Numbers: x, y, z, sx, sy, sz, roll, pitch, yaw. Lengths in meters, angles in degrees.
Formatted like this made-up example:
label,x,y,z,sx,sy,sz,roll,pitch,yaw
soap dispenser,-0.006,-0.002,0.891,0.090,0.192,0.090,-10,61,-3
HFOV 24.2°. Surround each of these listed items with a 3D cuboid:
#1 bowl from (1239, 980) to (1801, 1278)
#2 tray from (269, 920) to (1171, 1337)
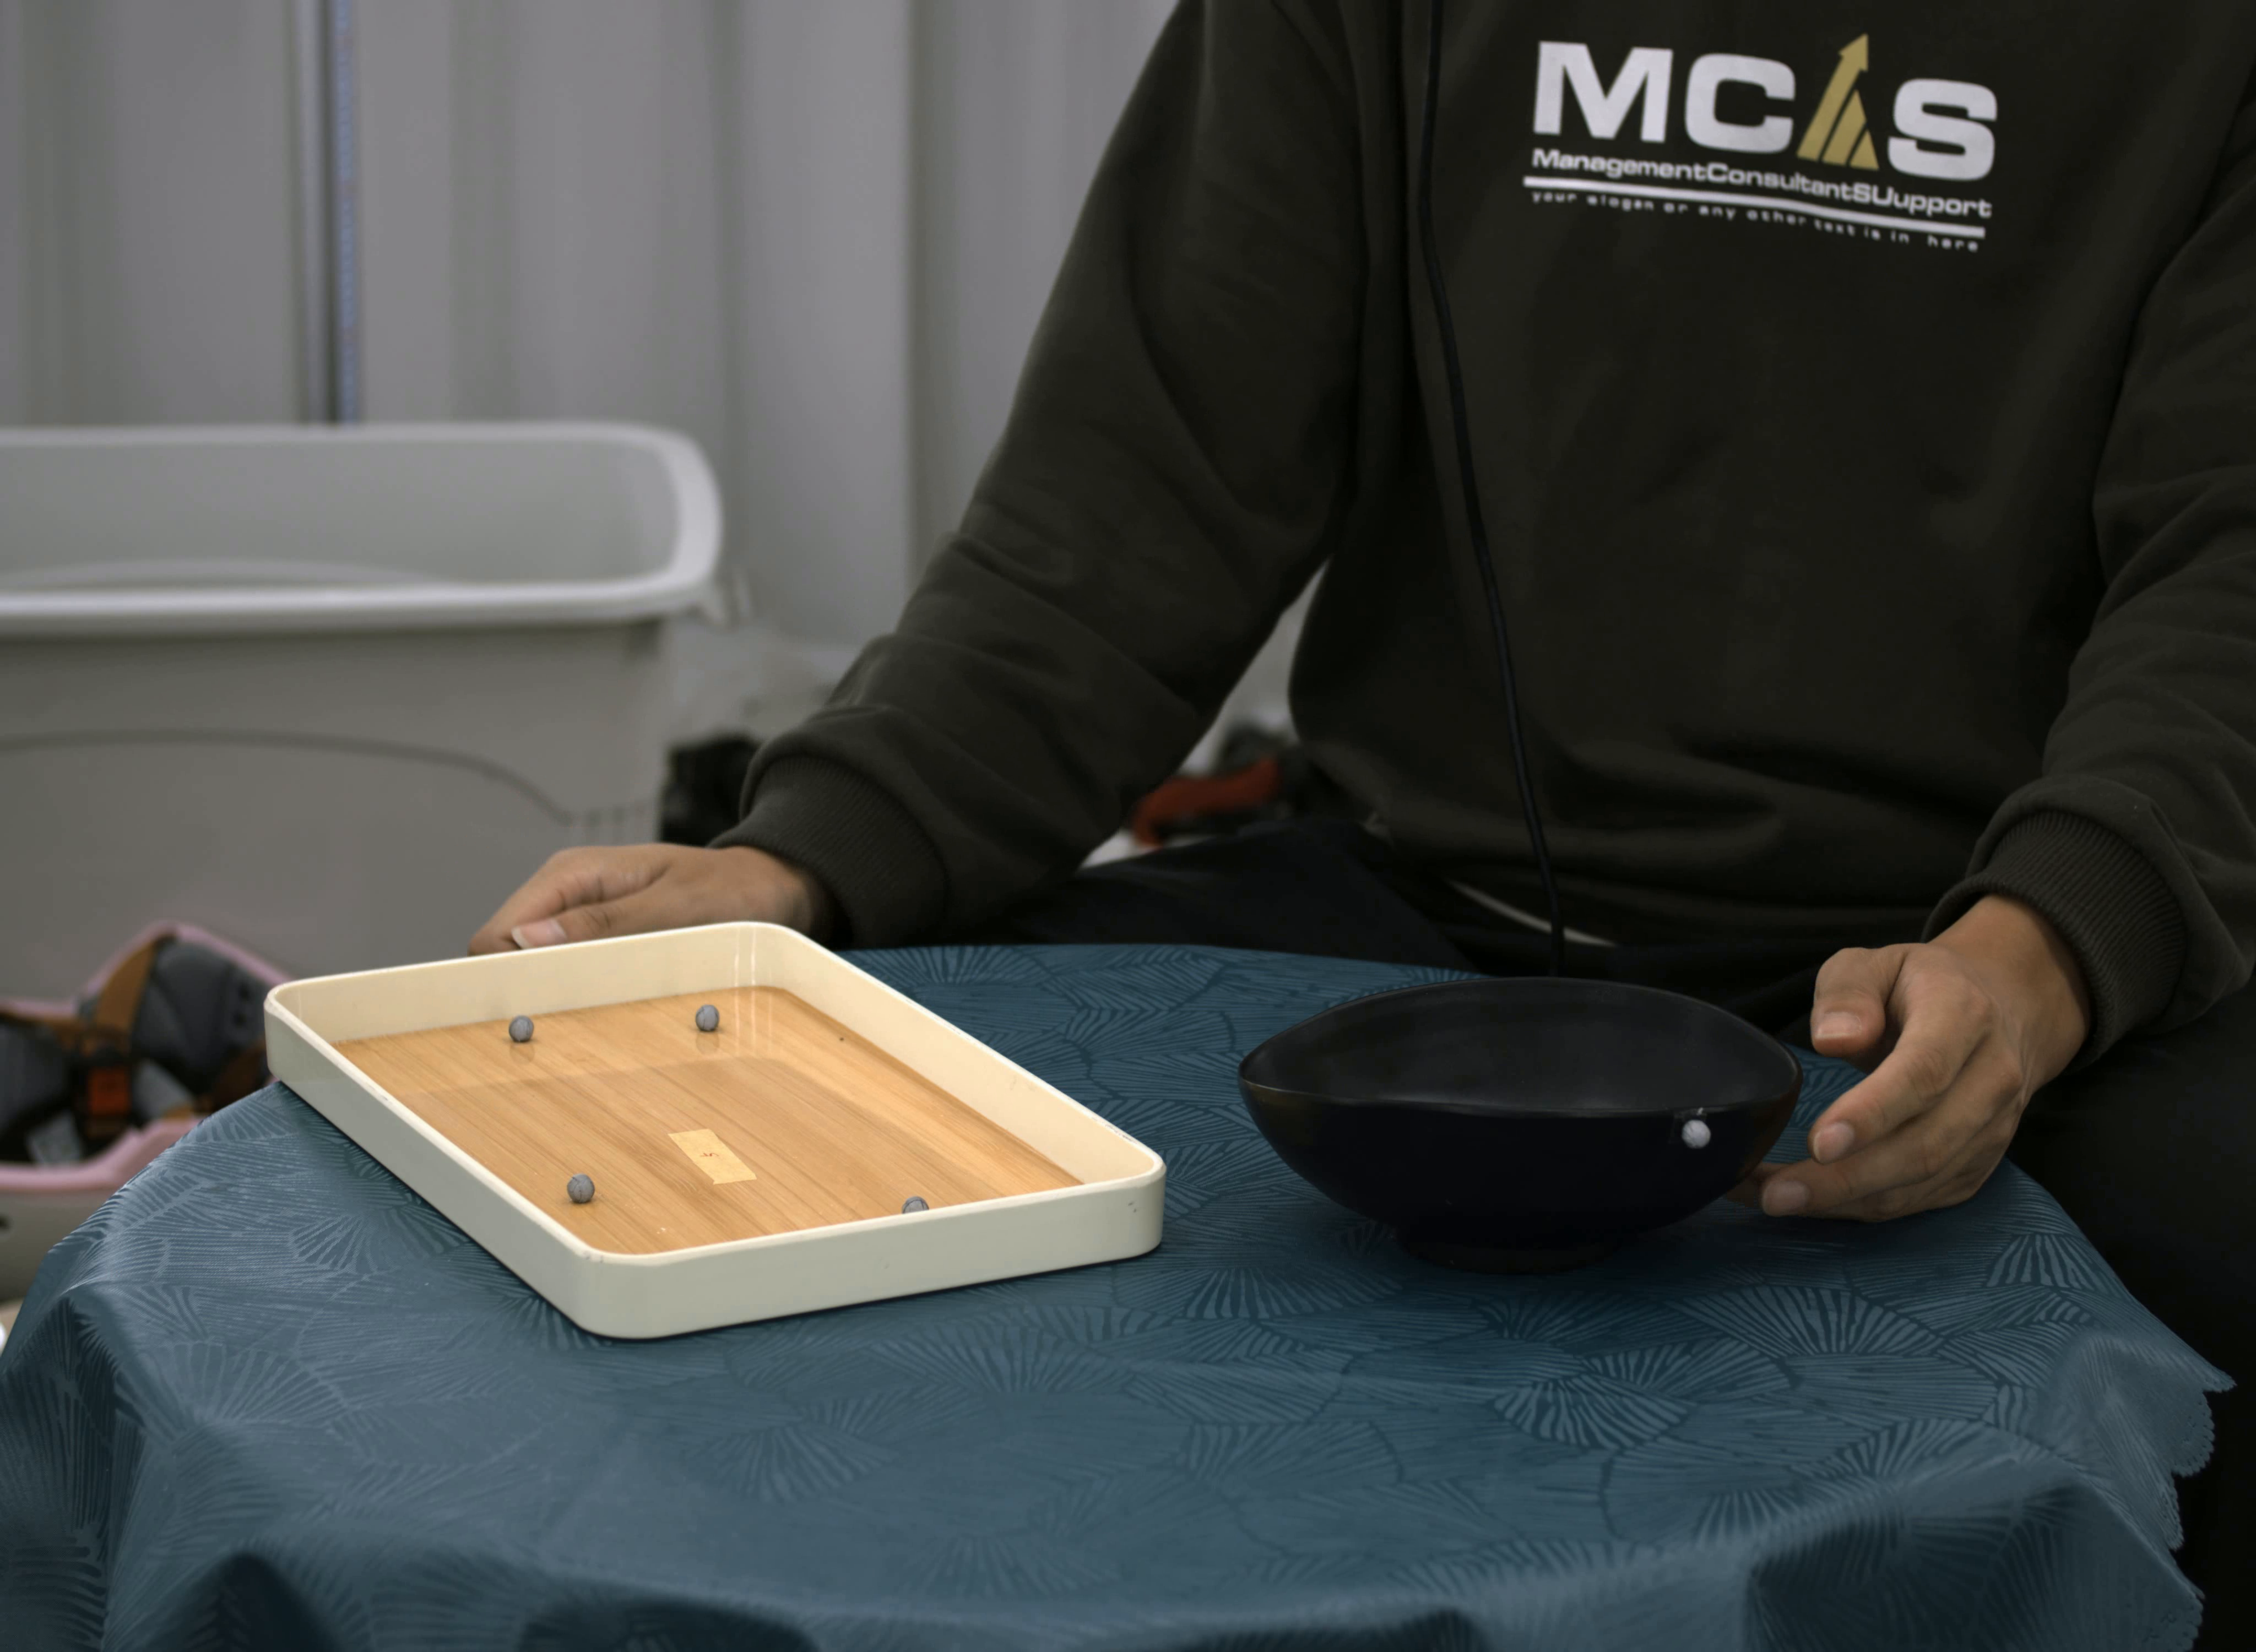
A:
label,x,y,z,sx,sy,sz,roll,pitch,yaw
bowl,0.116,0.095,1.584,0.169,0.067,0.137,2,14,9
tray,-0.134,0.090,1.653,0.192,0.027,0.296,-8,18,-28
